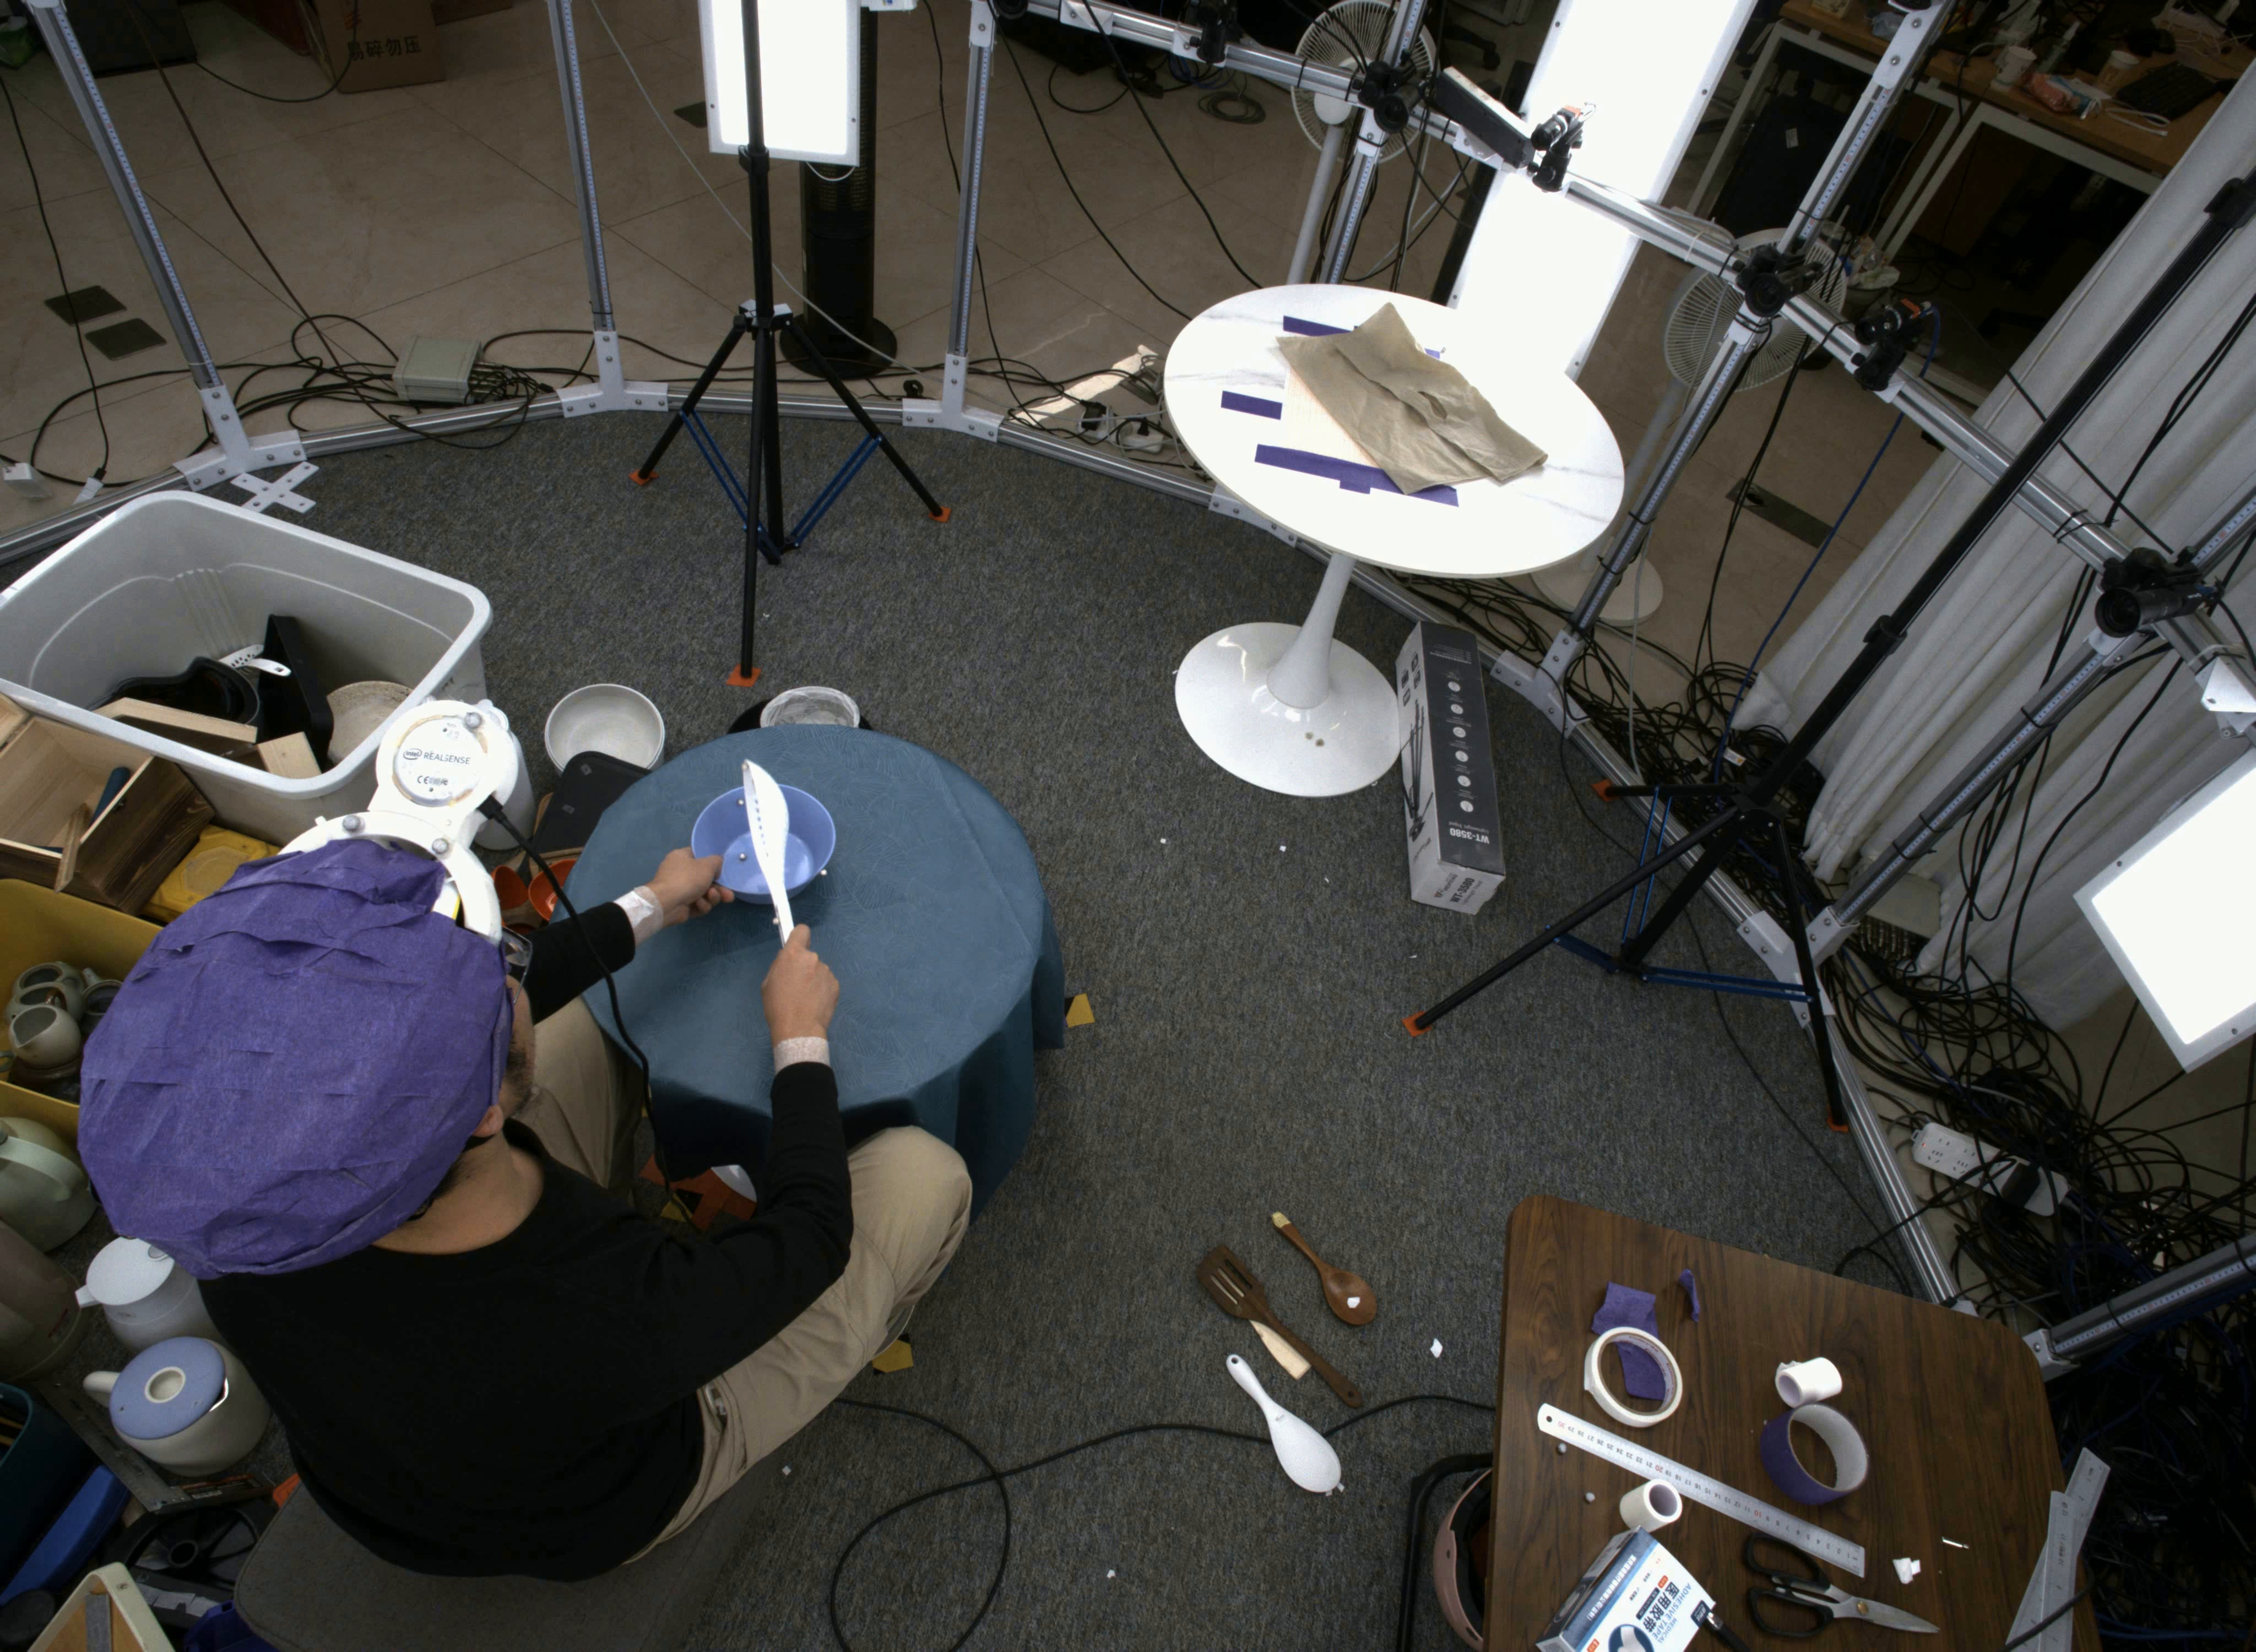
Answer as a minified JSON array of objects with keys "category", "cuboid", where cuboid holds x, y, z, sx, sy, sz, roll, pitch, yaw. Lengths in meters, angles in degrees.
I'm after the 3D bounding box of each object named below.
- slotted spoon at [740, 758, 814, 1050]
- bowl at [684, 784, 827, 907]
[{"category":"slotted spoon","cuboid":[-0.406,0.085,1.495,0.046,0.136,0.346,-4,69,-23]},{"category":"bowl","cuboid":[-0.469,0.033,1.636,0.175,0.072,0.173,7,53,-8]}]
